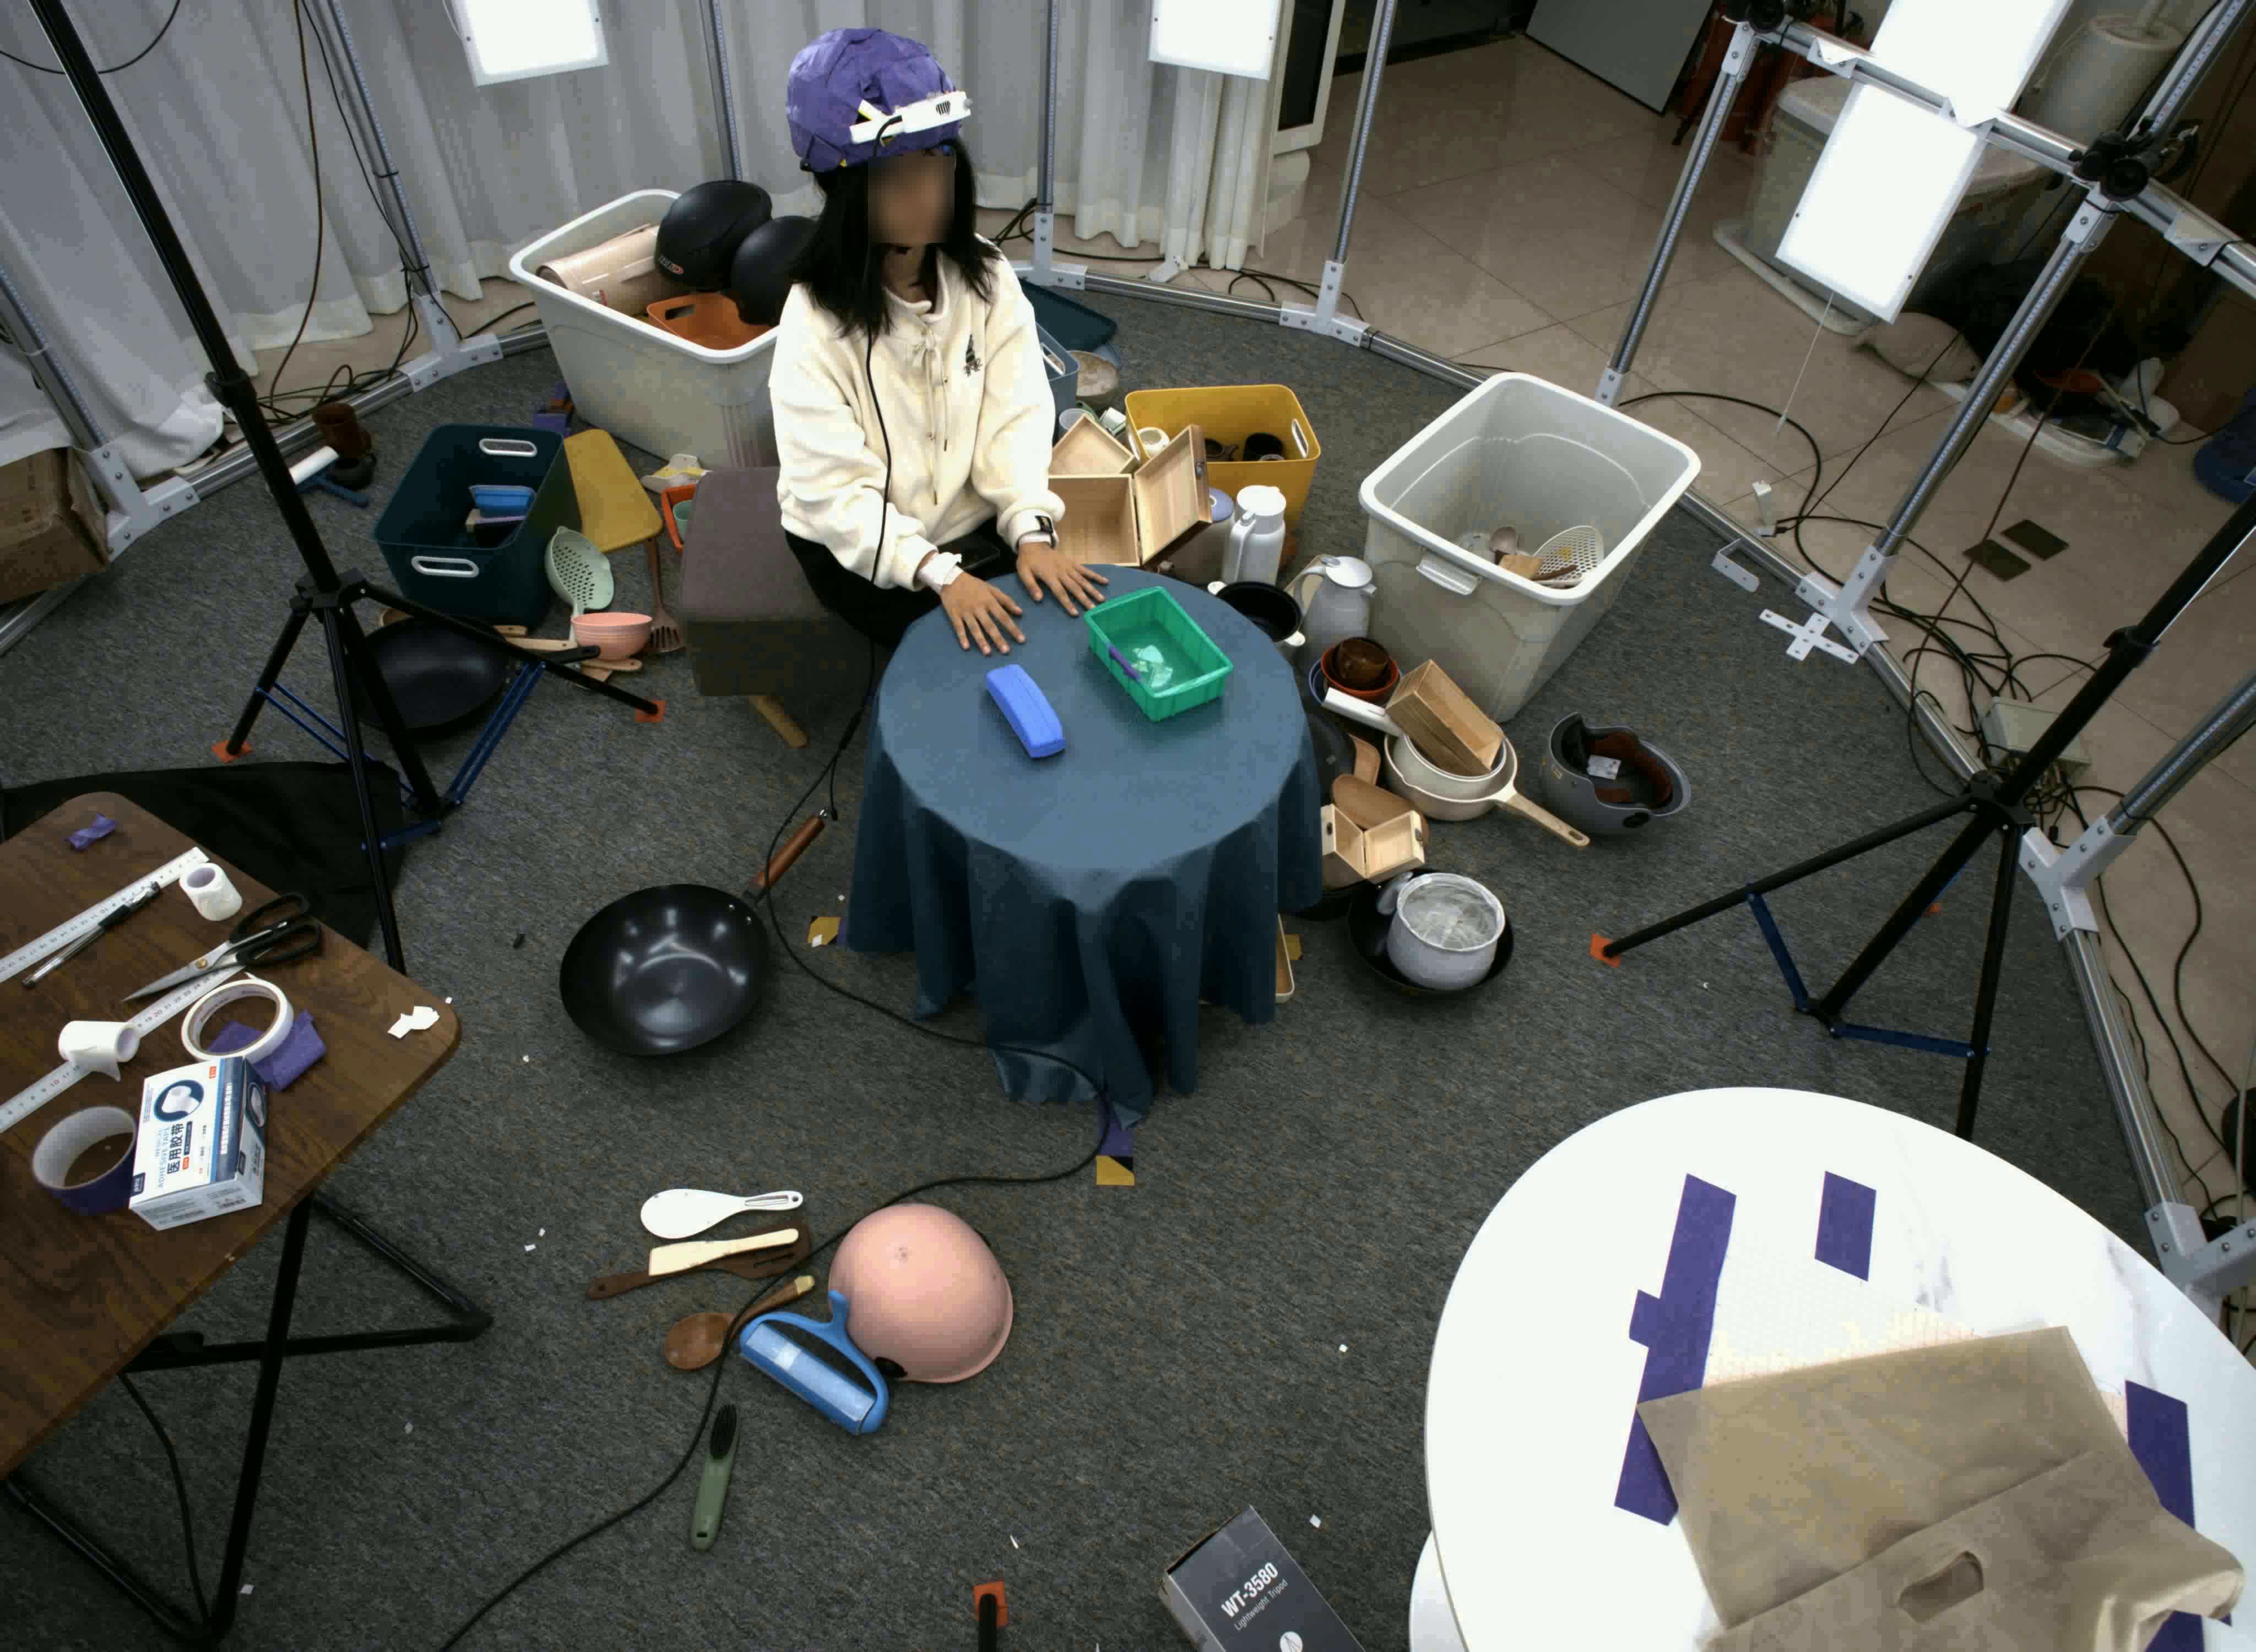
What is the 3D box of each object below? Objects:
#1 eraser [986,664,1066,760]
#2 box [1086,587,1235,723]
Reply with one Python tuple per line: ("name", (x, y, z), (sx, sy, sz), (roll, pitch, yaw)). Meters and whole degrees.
("eraser", (-0.141, -0.163, 1.772), (0.054, 0.046, 0.166), (-20, 54, -20))
("box", (0.043, -0.245, 1.845), (0.139, 0.064, 0.215), (-25, 56, -21))
